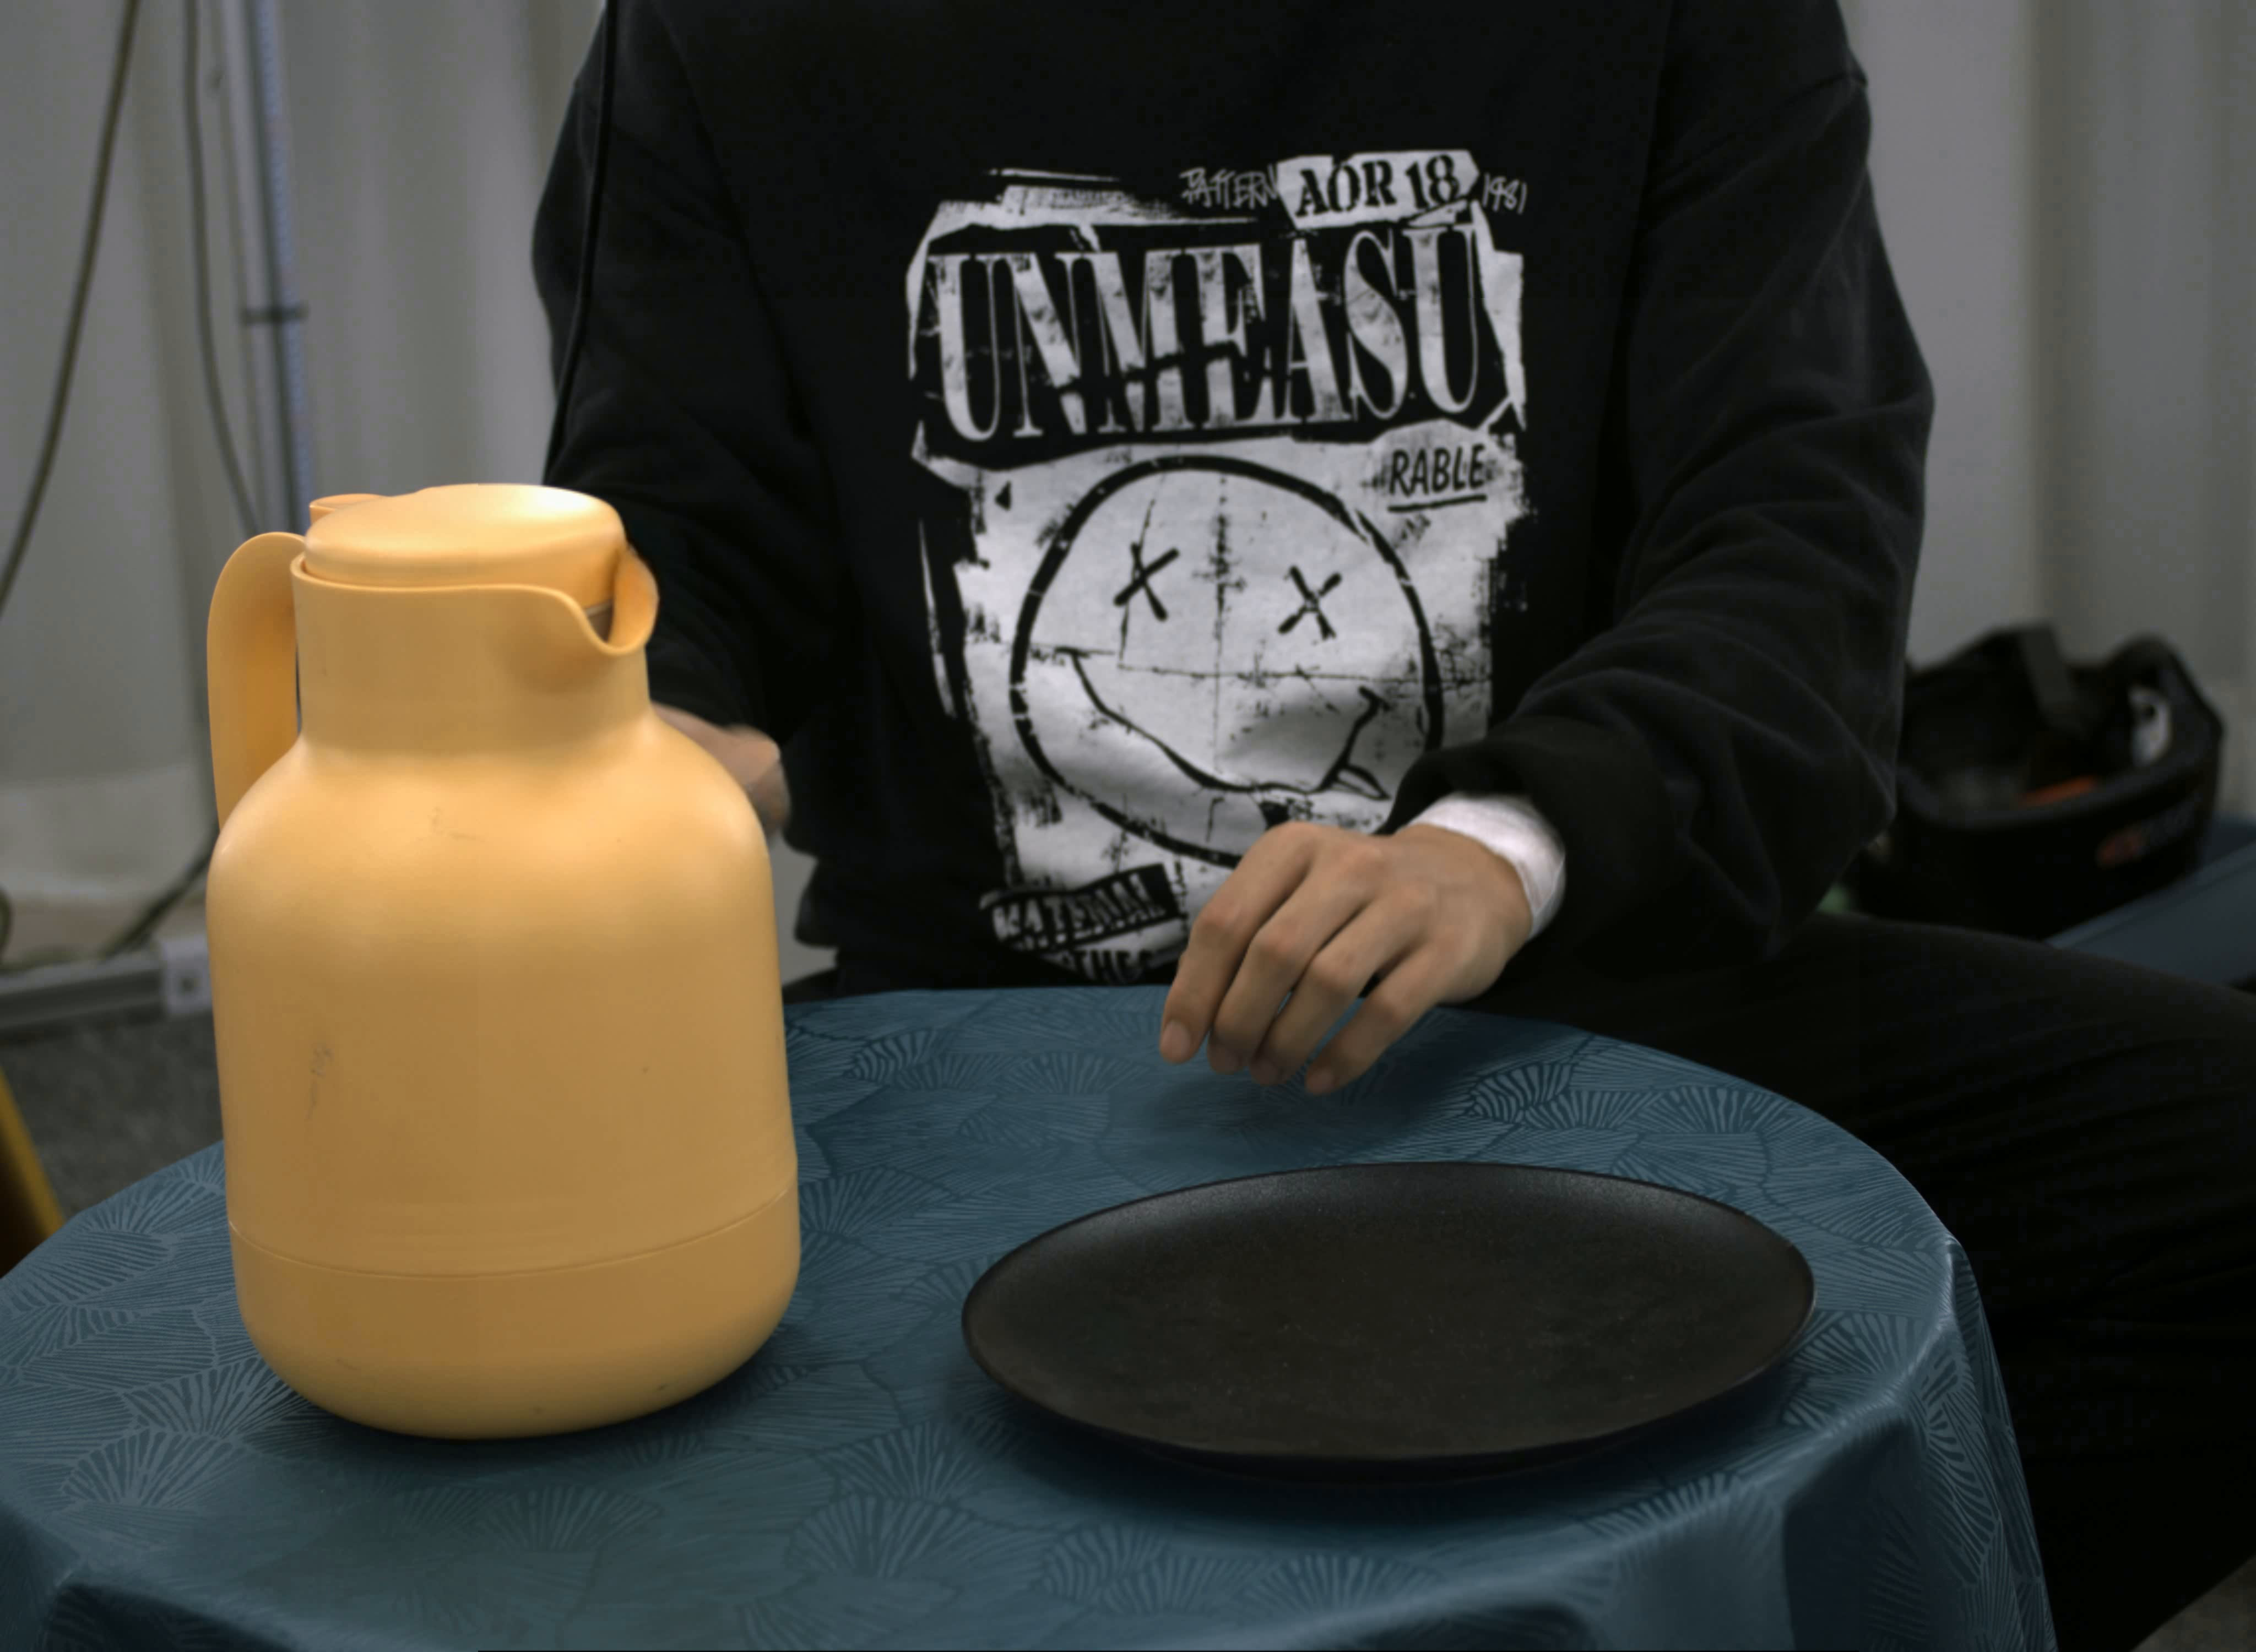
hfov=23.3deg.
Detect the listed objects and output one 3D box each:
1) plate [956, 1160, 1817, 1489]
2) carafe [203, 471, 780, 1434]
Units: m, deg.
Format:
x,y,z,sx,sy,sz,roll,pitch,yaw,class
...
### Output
x,y,z,sx,sy,sz,roll,pitch,yaw,class
0.073,0.144,1.546,0.243,0.023,0.246,-3,15,0,plate
-0.192,0.027,1.569,0.163,0.259,0.204,-10,17,-38,carafe
